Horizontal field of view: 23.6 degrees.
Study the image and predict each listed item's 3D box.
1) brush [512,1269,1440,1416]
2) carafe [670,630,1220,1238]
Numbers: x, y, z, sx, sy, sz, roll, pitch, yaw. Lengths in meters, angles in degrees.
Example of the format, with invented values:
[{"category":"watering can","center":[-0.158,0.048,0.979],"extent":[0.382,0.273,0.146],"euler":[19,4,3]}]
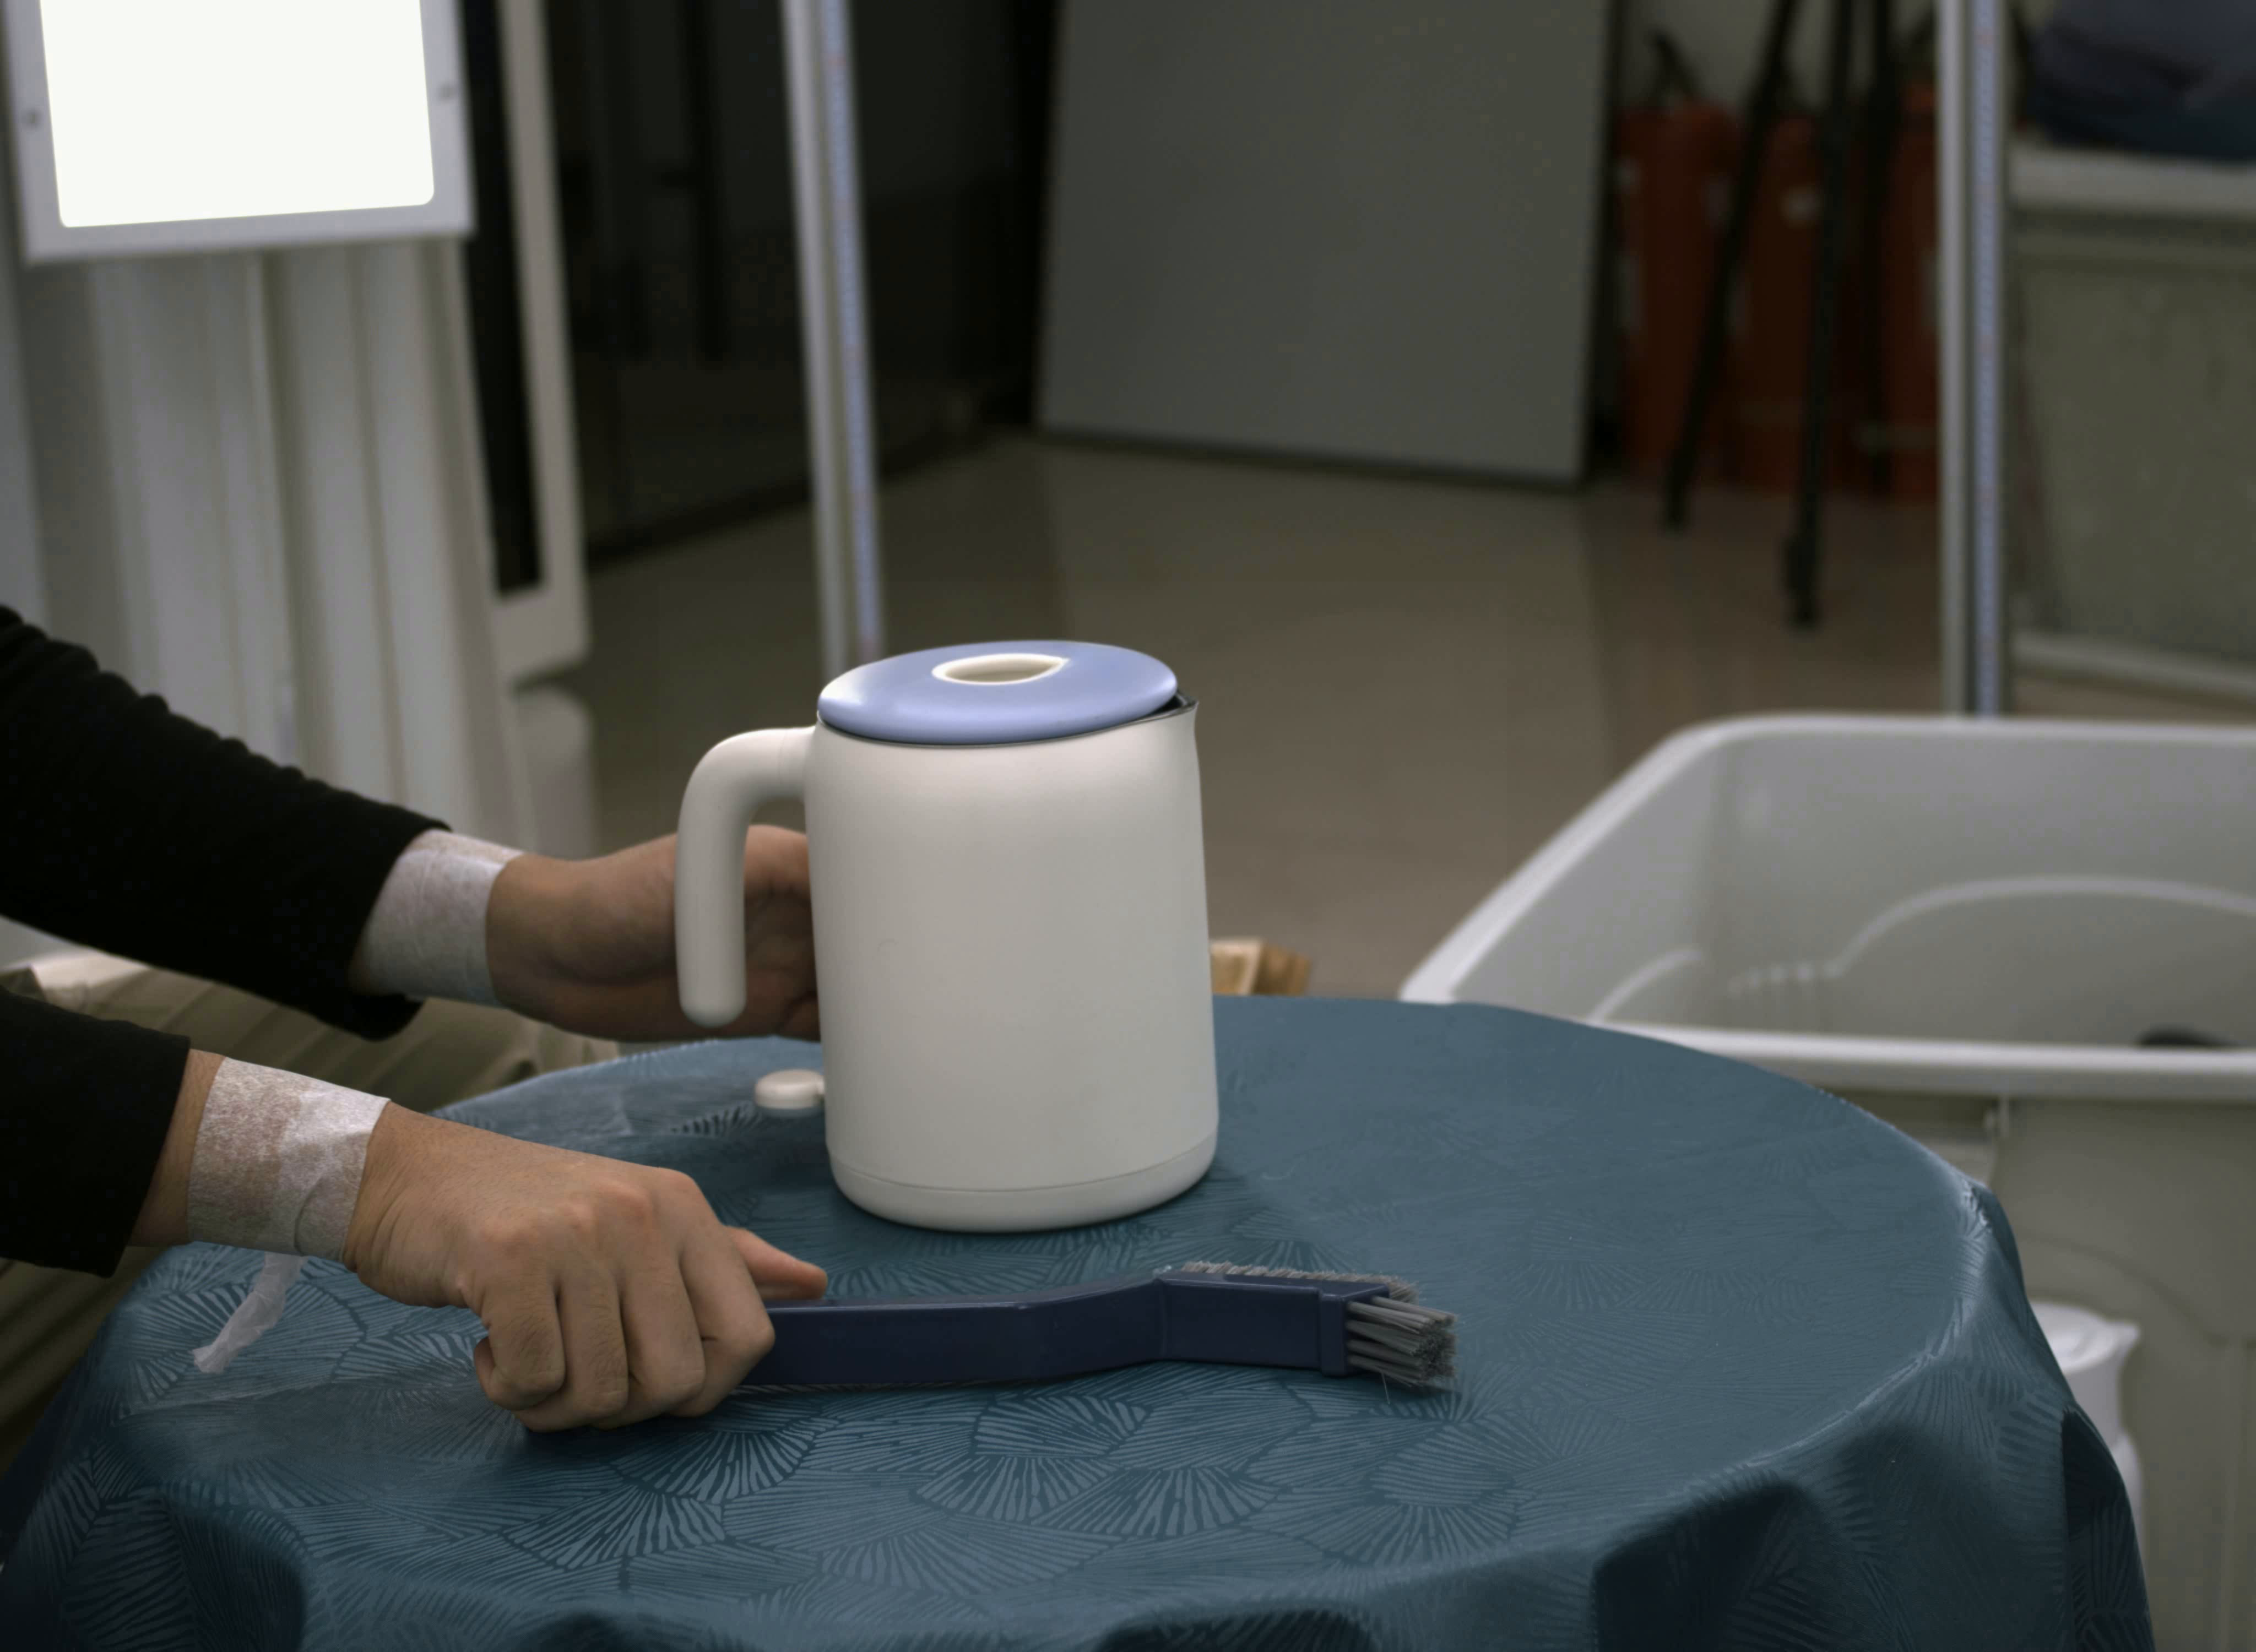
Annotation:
[{"category":"brush","center":[-0.047,0.153,1.591],"extent":[0.269,0.034,0.096],"euler":[-4,16,-1]},{"category":"carafe","center":[-0.061,0.035,1.779],"extent":[0.190,0.184,0.131],"euler":[-1,13,17]}]
